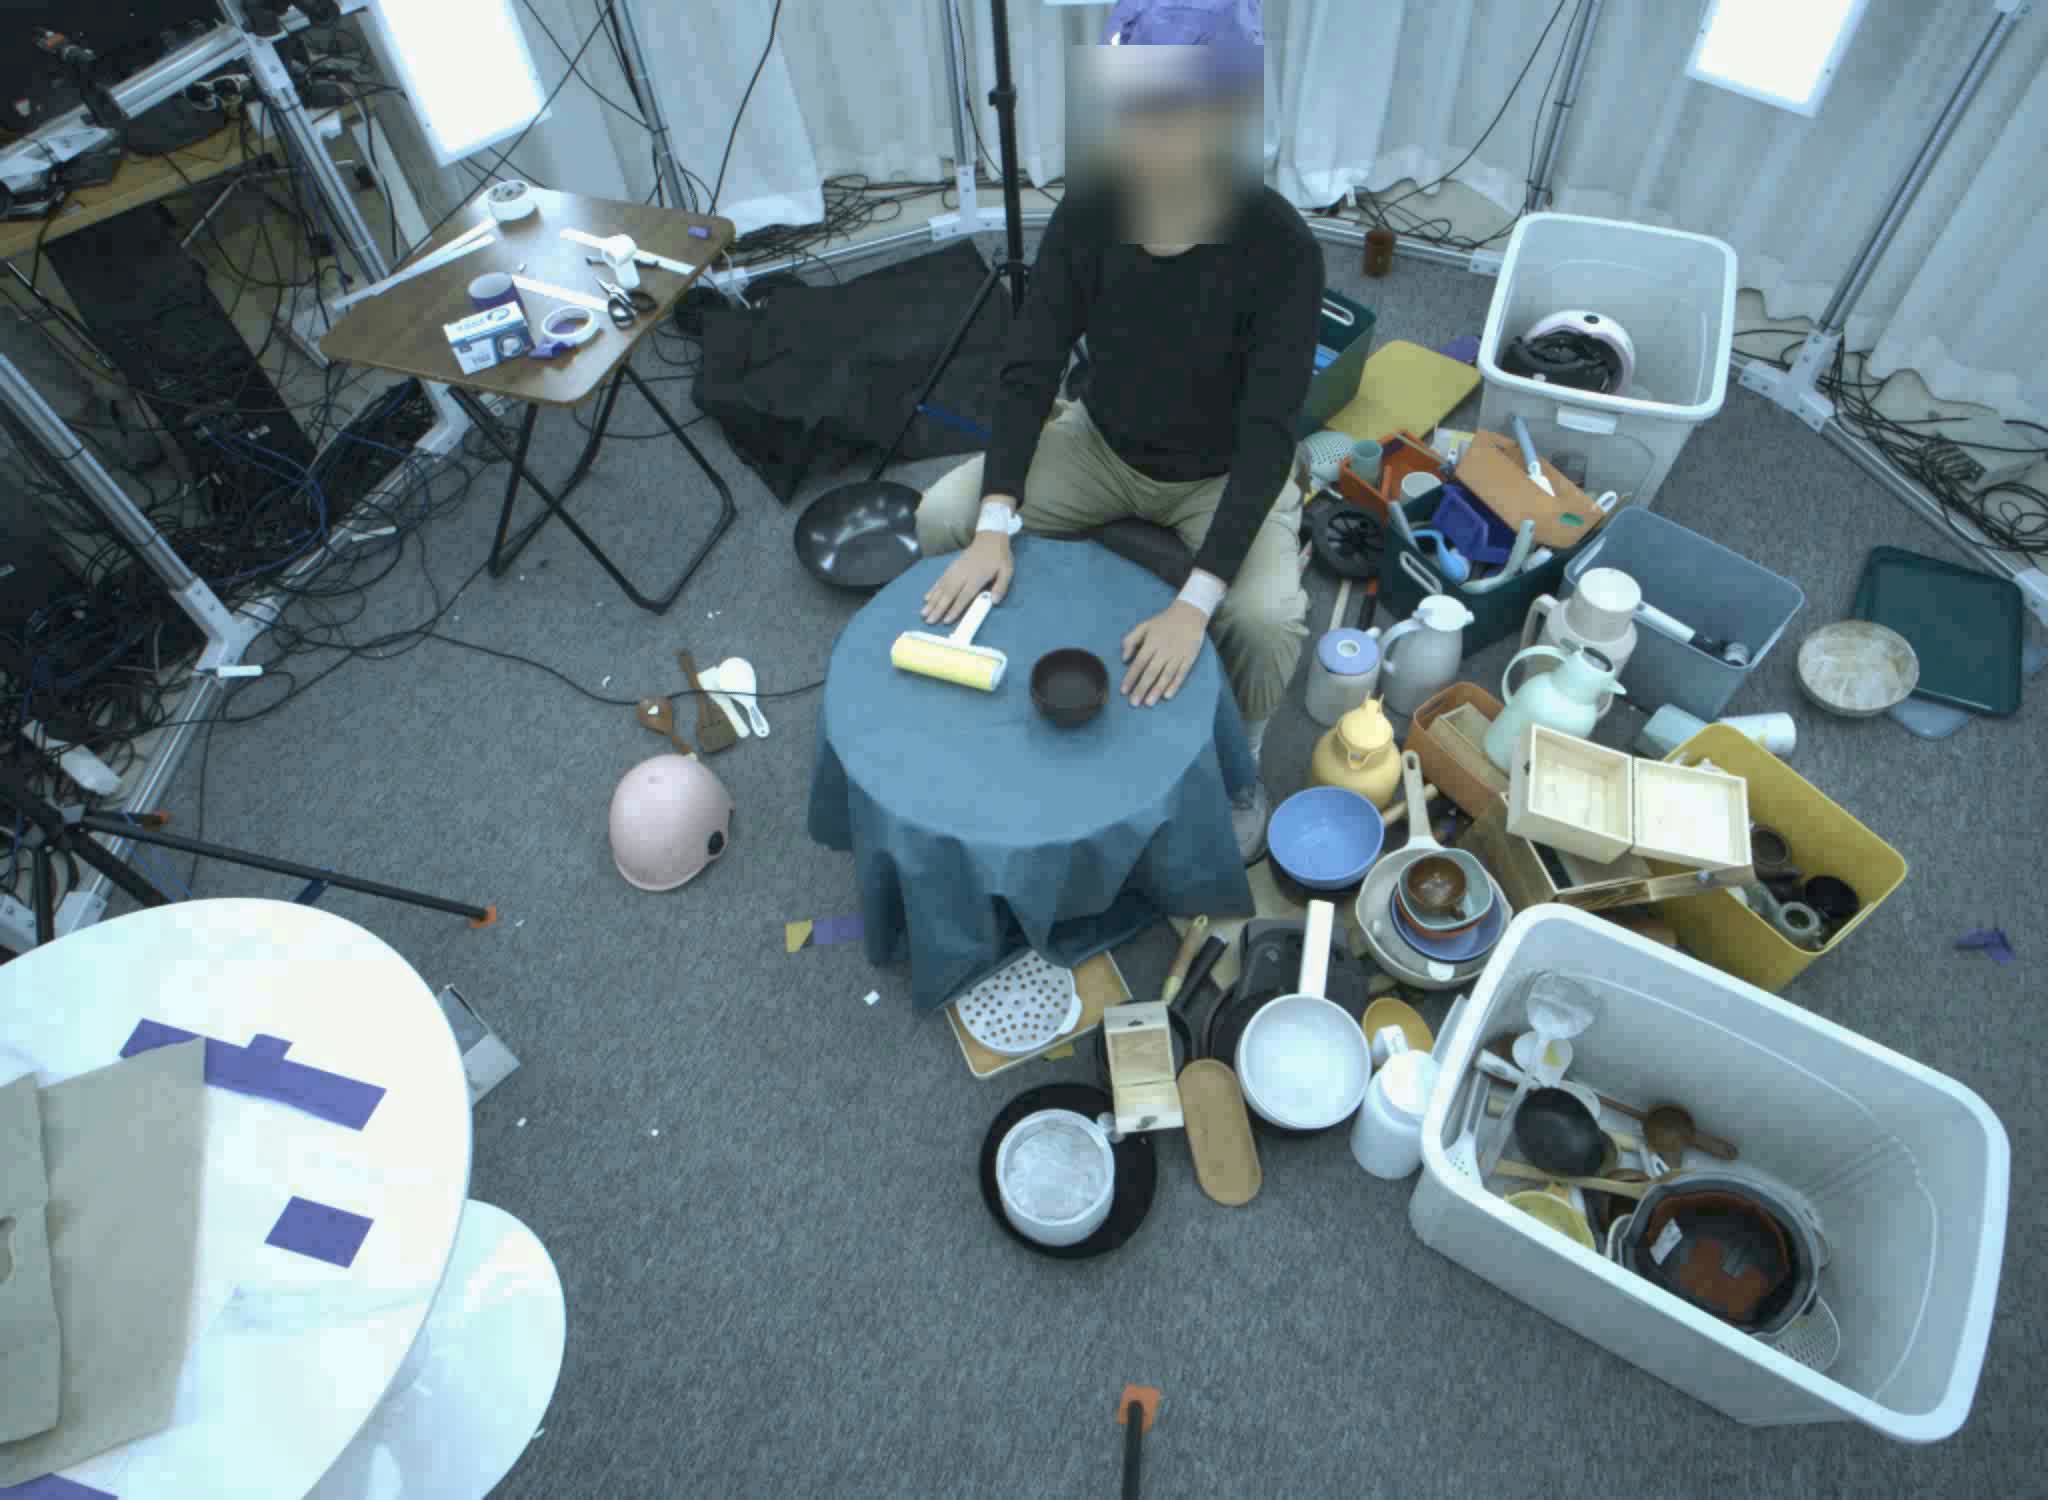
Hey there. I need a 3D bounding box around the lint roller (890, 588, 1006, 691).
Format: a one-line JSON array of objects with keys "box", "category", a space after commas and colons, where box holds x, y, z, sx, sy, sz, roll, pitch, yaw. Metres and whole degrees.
[{"box": [-0.097, -0.188, 1.892, 0.173, 0.052, 0.191, 14, 61, 11], "category": "lint roller"}]

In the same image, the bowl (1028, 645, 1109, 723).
[{"box": [0.066, -0.089, 1.802, 0.118, 0.070, 0.117, 0, 56, 2], "category": "bowl"}]
